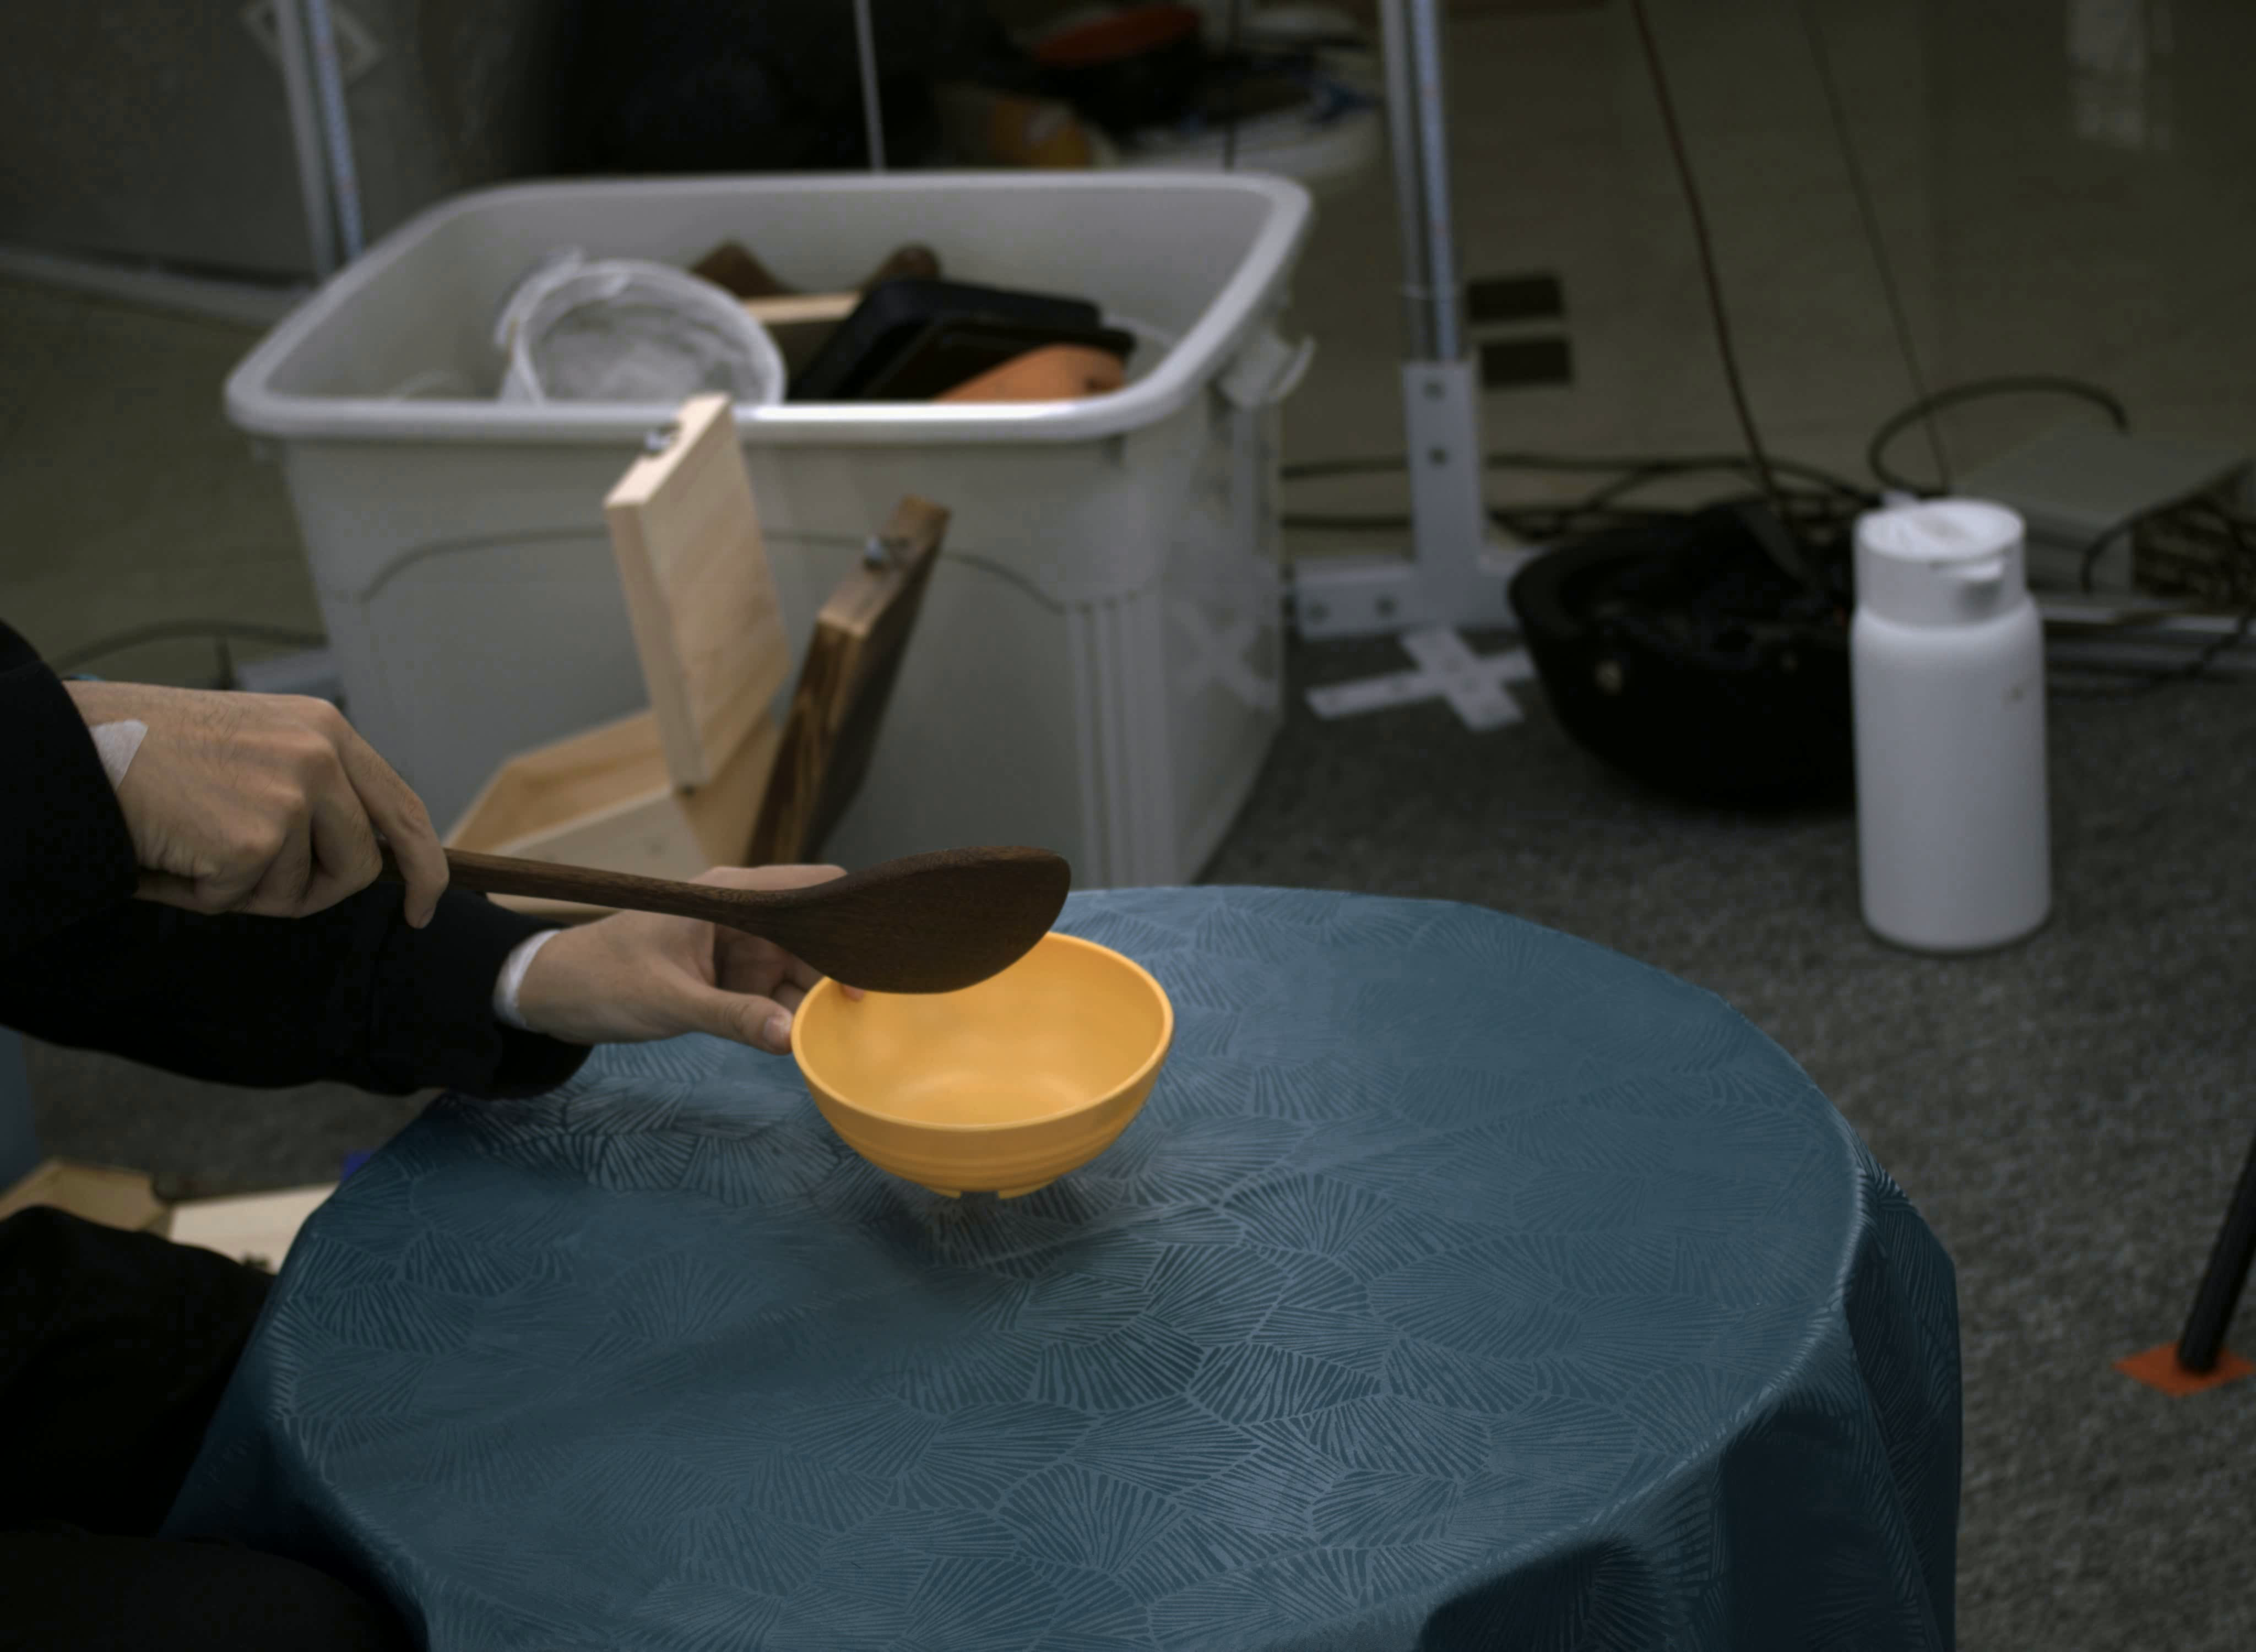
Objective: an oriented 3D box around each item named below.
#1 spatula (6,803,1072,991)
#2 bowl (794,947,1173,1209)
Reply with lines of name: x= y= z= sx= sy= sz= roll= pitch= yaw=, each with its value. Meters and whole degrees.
spatula: x=-0.203 y=0.019 z=1.991 sx=0.386 sy=0.097 sz=0.015 roll=7 pitch=56 yaw=-23
bowl: x=-0.053 y=0.104 z=2.151 sx=0.145 sy=0.061 sz=0.143 roll=-2 pitch=28 yaw=1
